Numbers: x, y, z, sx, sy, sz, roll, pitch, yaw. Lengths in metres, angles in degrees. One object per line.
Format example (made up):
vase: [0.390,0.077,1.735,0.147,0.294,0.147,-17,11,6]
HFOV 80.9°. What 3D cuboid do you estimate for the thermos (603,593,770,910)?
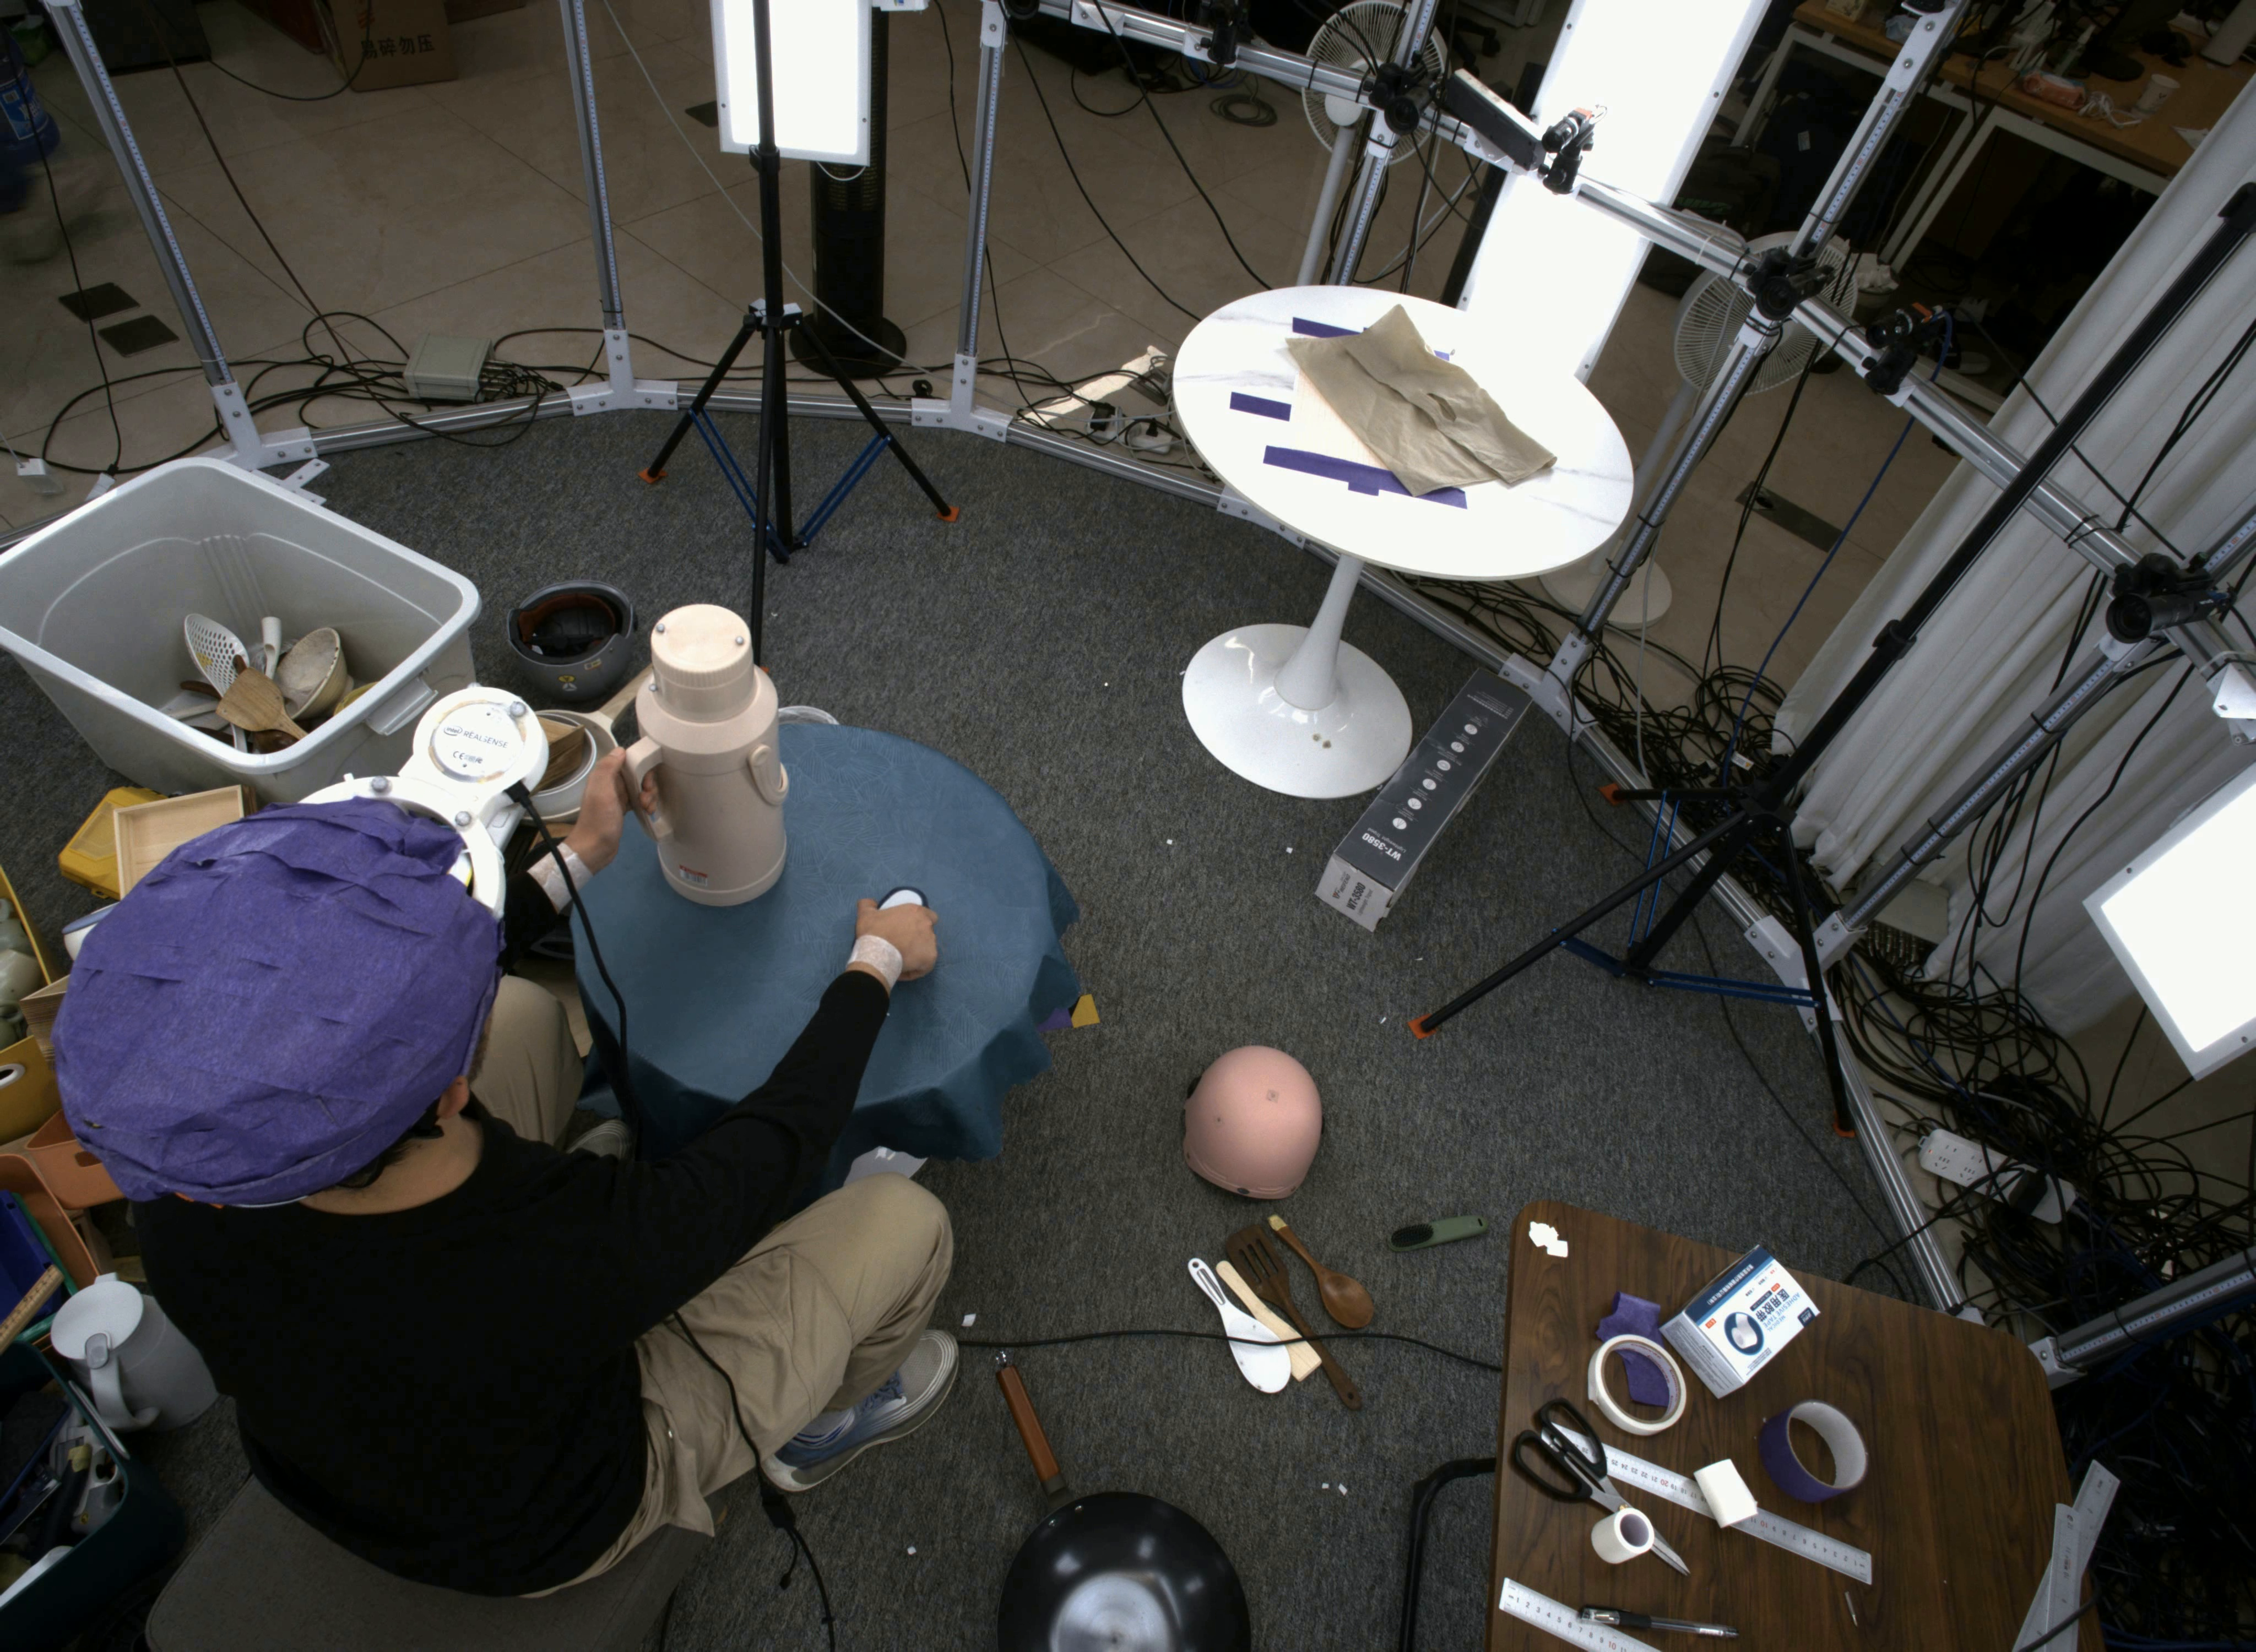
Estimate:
thermos: [-0.517,-0.076,1.494,0.172,0.414,0.207,34,53,13]

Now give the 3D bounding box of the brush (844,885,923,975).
brush: [-0.304,0.129,1.619,0.066,0.063,0.121,29,51,14]
